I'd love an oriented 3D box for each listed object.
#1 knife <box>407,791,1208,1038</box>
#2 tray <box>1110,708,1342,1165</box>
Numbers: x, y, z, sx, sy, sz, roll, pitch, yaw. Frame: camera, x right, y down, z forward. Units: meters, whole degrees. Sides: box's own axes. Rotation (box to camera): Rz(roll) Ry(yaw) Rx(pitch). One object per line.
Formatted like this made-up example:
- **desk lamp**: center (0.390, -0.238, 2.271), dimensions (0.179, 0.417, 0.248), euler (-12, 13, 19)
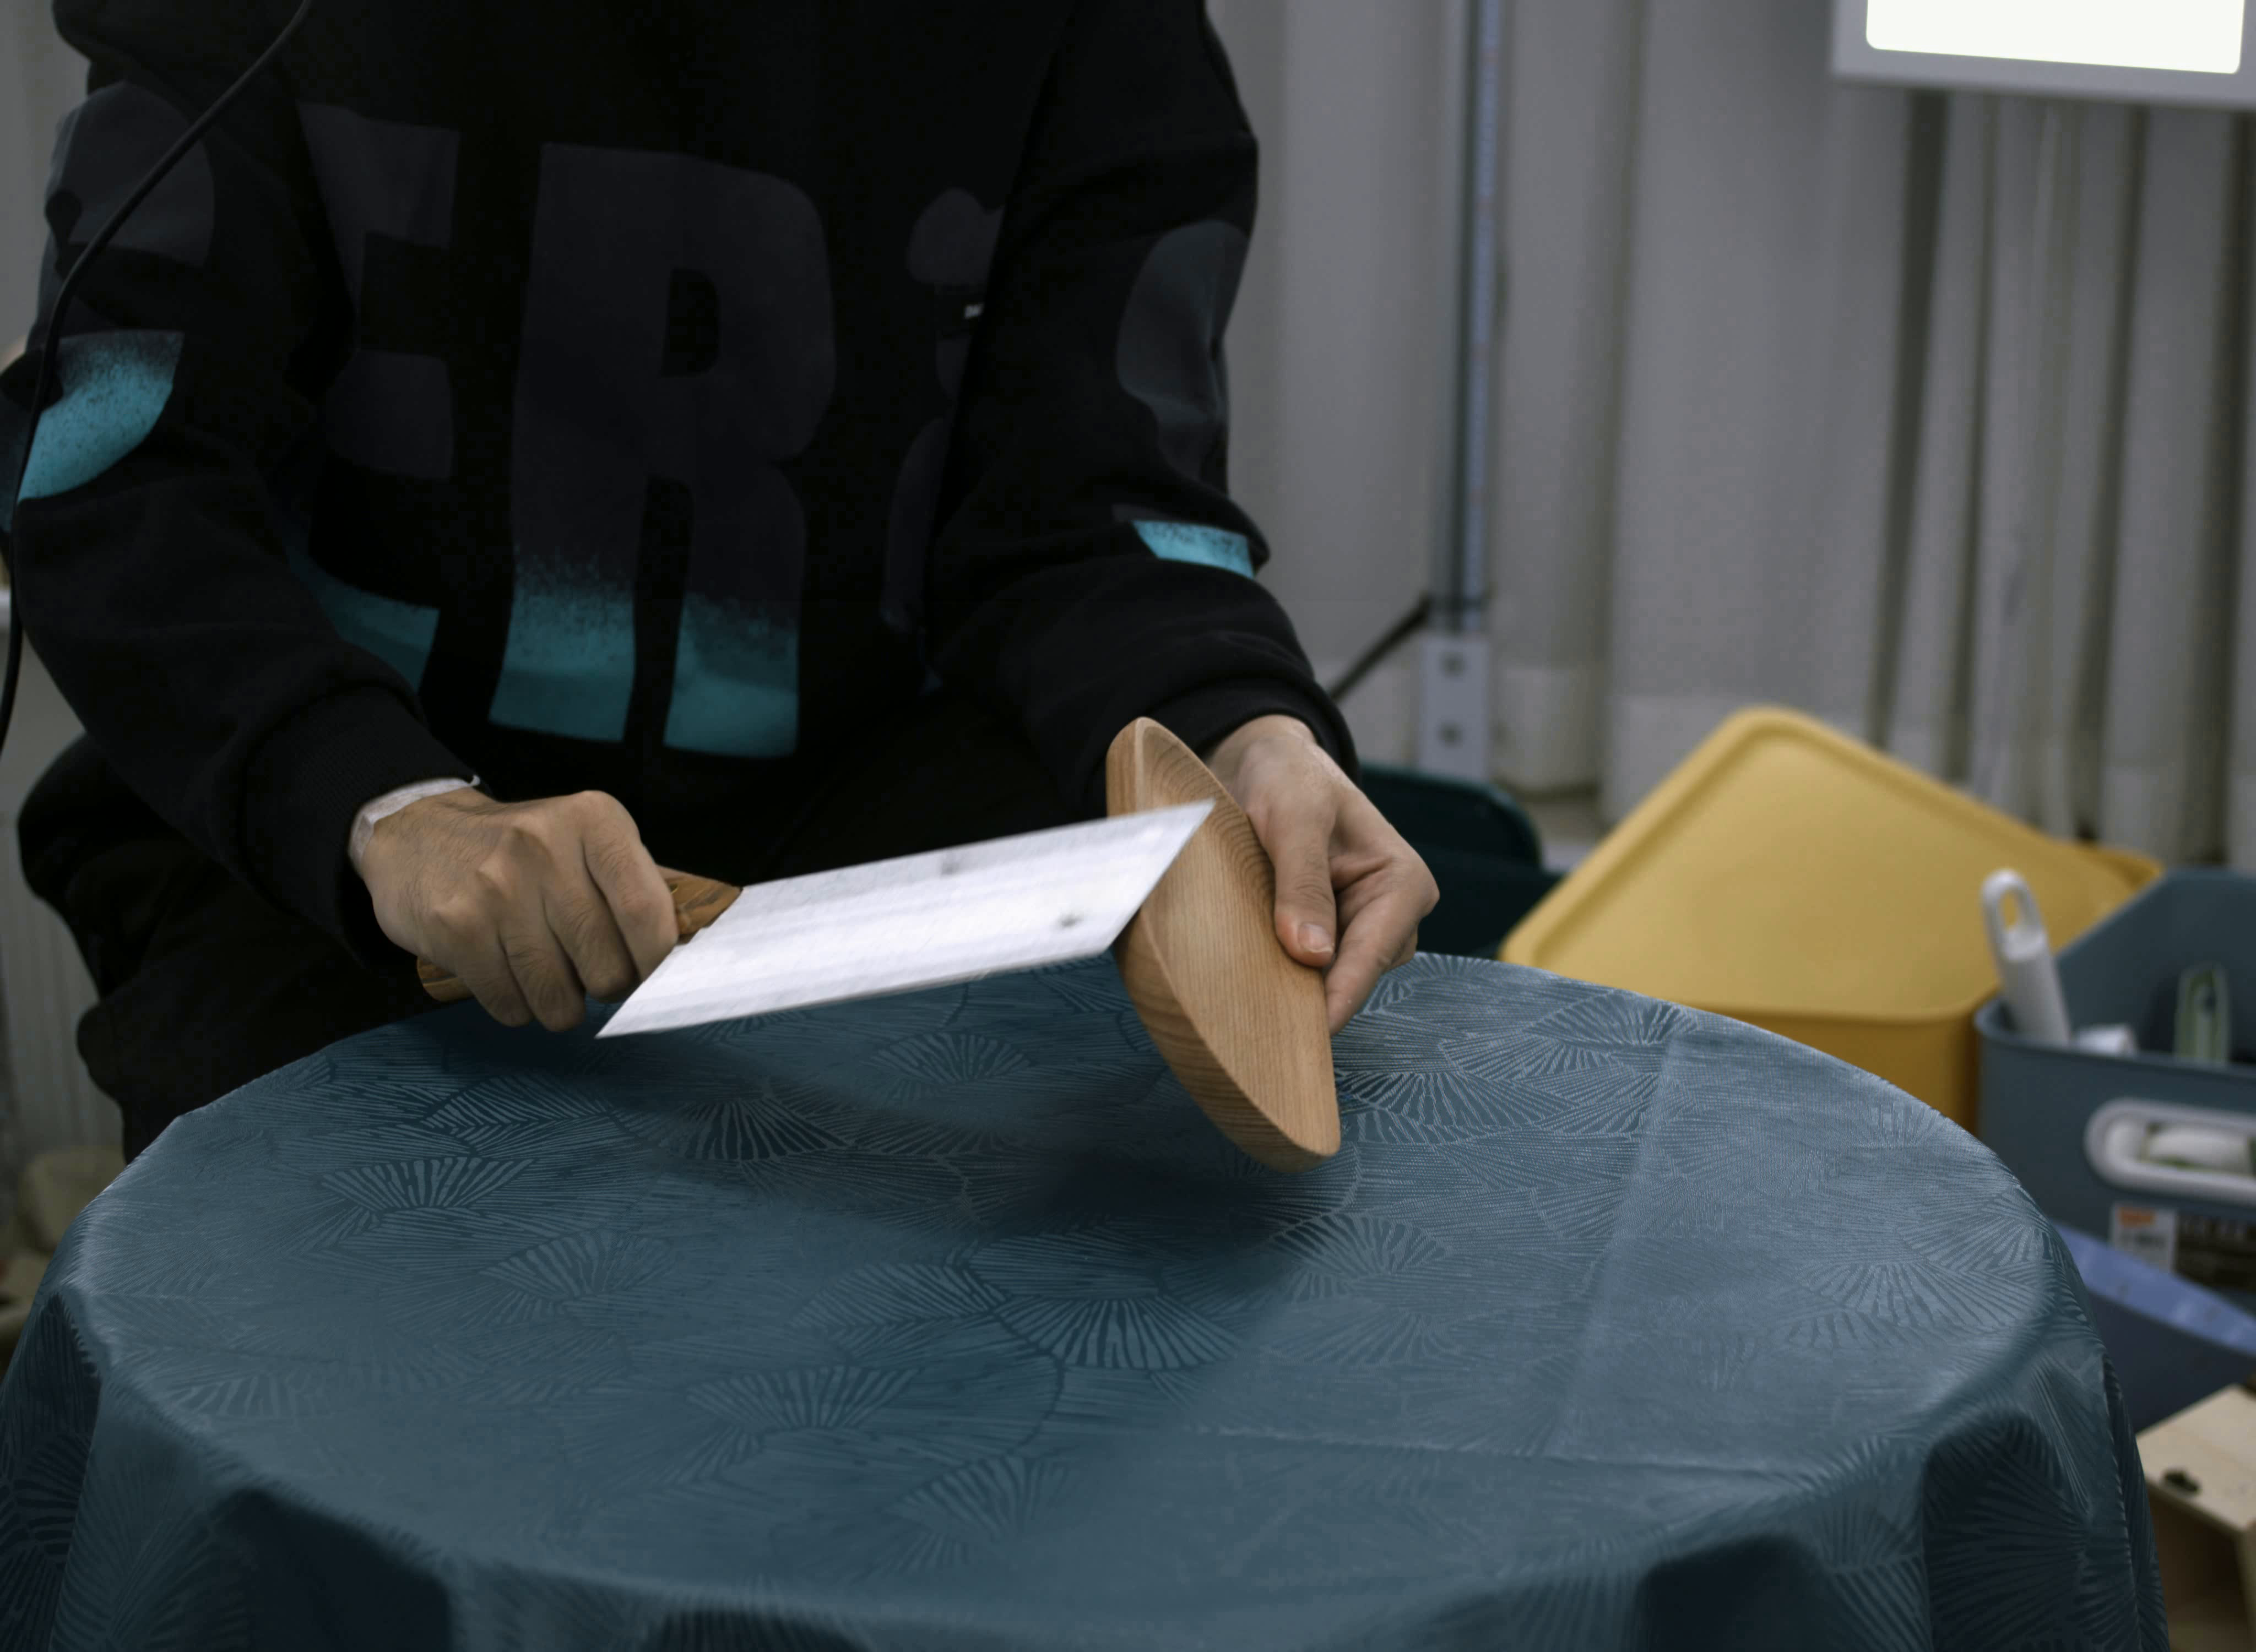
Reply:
- **knife**: center (-0.115, 0.035, 1.659), dimensions (0.303, 0.021, 0.092), euler (-11, 25, 30)
- **tray**: center (0.029, 0.033, 1.651), dimensions (0.020, 0.102, 0.229), euler (-35, 19, 13)
